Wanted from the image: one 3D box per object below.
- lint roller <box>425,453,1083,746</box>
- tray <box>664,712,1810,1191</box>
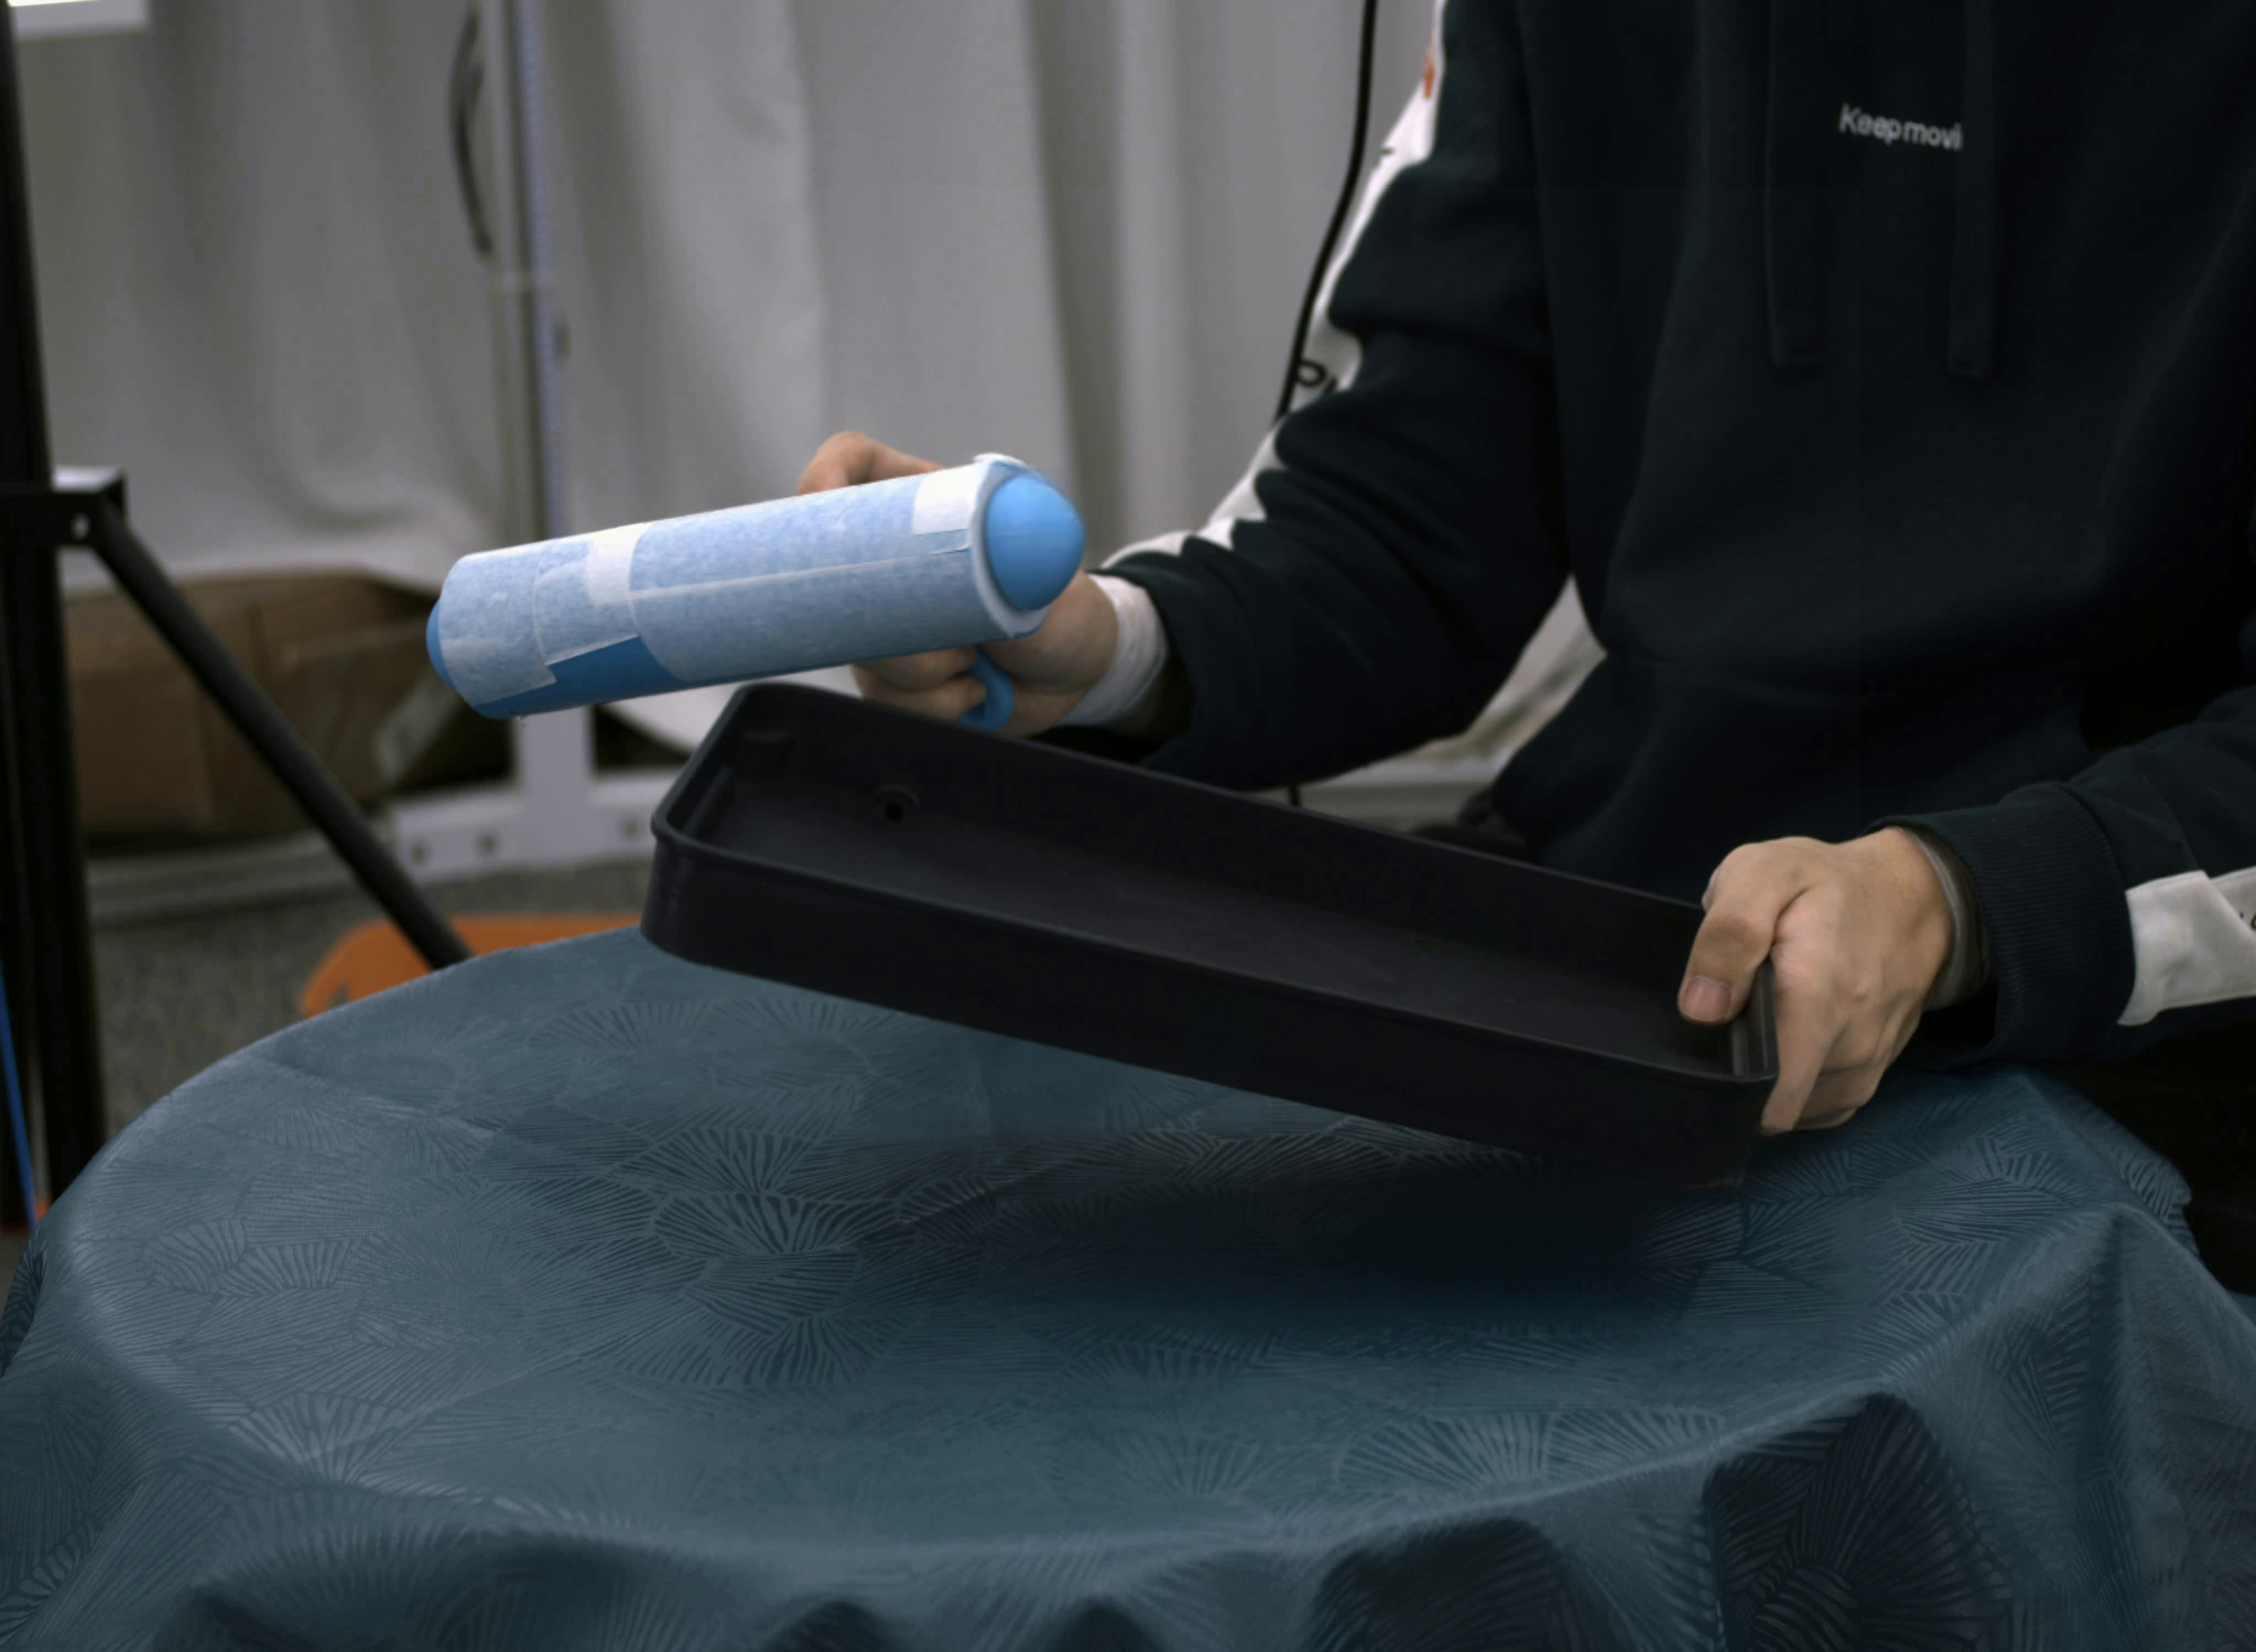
[{"bbox_3d":[-0.093,-0.067,1.696,0.232,0.068,0.176,-9,-10,26],"label":"lint roller"},{"bbox_3d":[0.032,0.033,1.516,0.317,0.037,0.184,11,15,3],"label":"tray"}]
